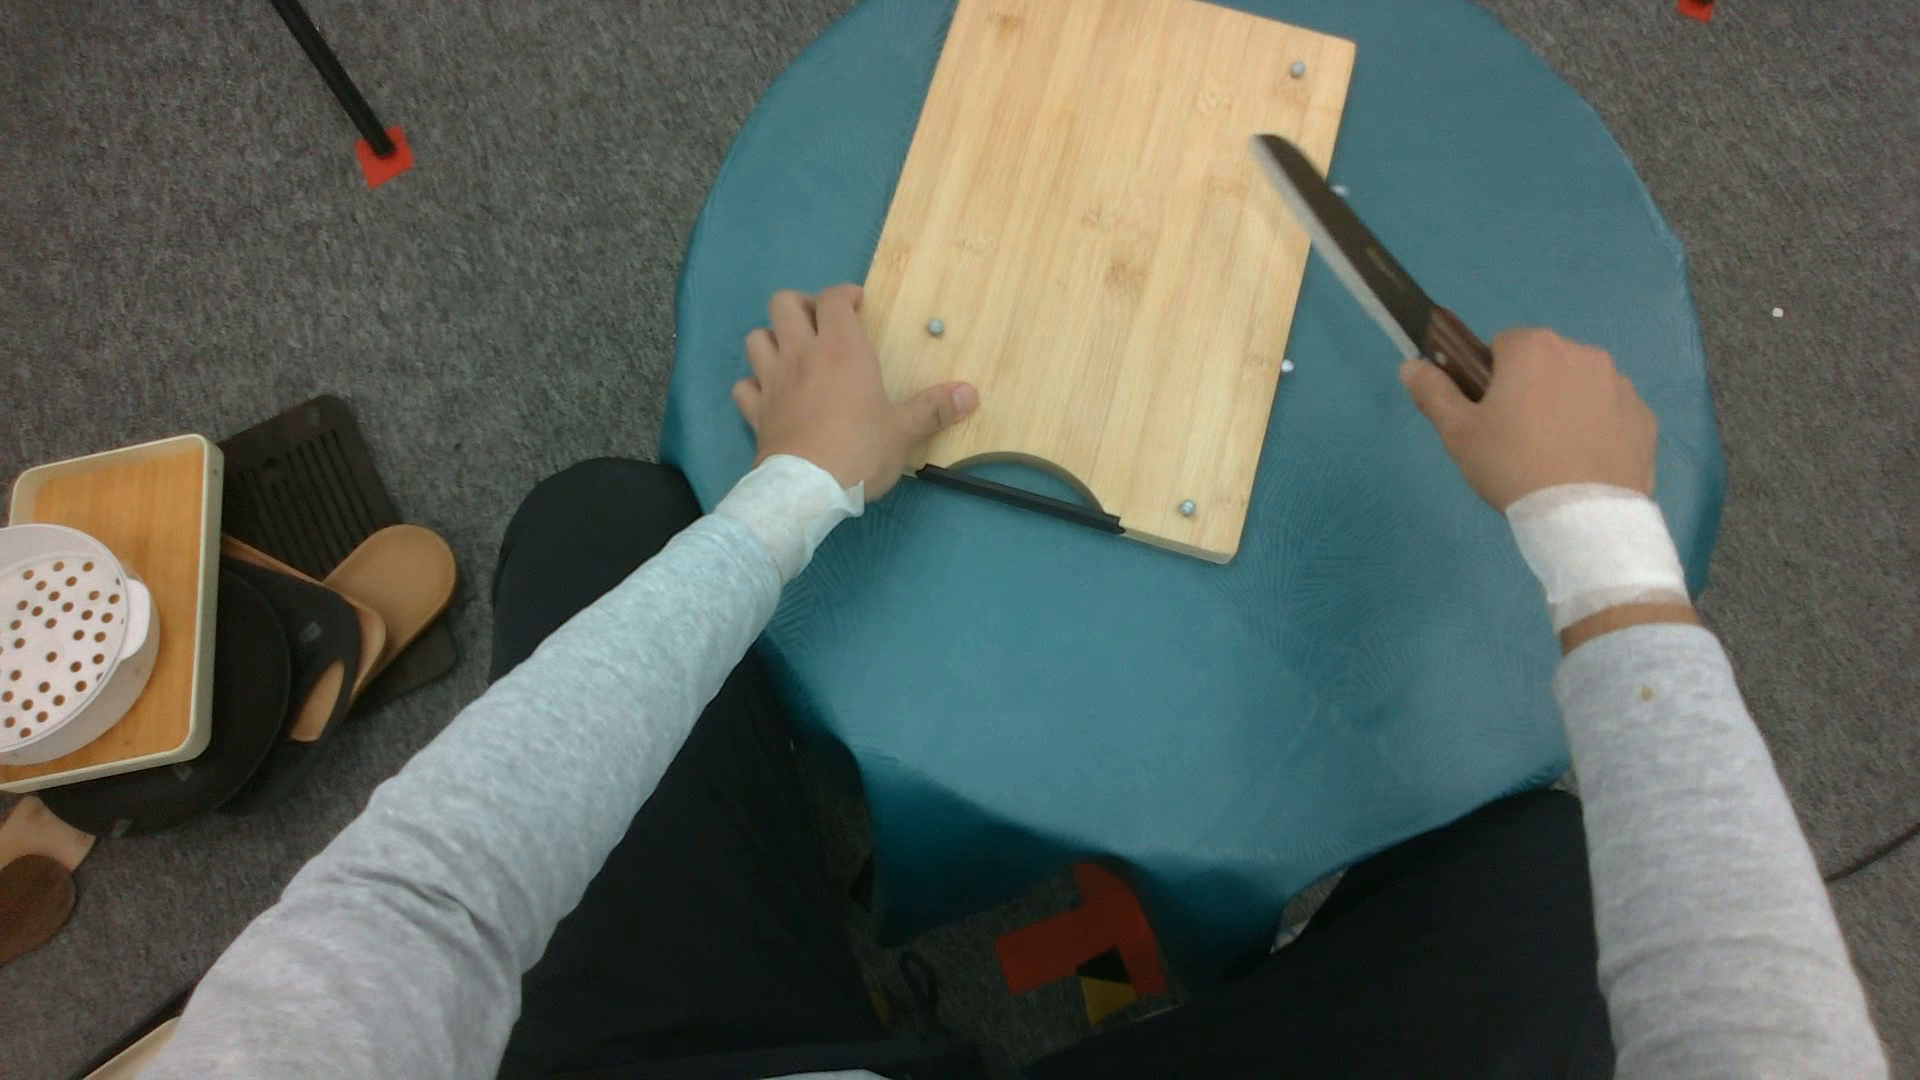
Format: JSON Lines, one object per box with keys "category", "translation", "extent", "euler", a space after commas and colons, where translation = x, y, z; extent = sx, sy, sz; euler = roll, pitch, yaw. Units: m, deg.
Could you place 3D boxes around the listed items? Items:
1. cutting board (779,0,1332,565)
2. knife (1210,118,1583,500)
{"category": "cutting board", "translation": [0.065, -0.178, 0.804], "extent": [0.251, 0.023, 0.349], "euler": [15, 73, 2]}
{"category": "knife", "translation": [0.213, -0.128, 0.710], "extent": [0.020, 0.050, 0.289], "euler": [-26, 62, -16]}
